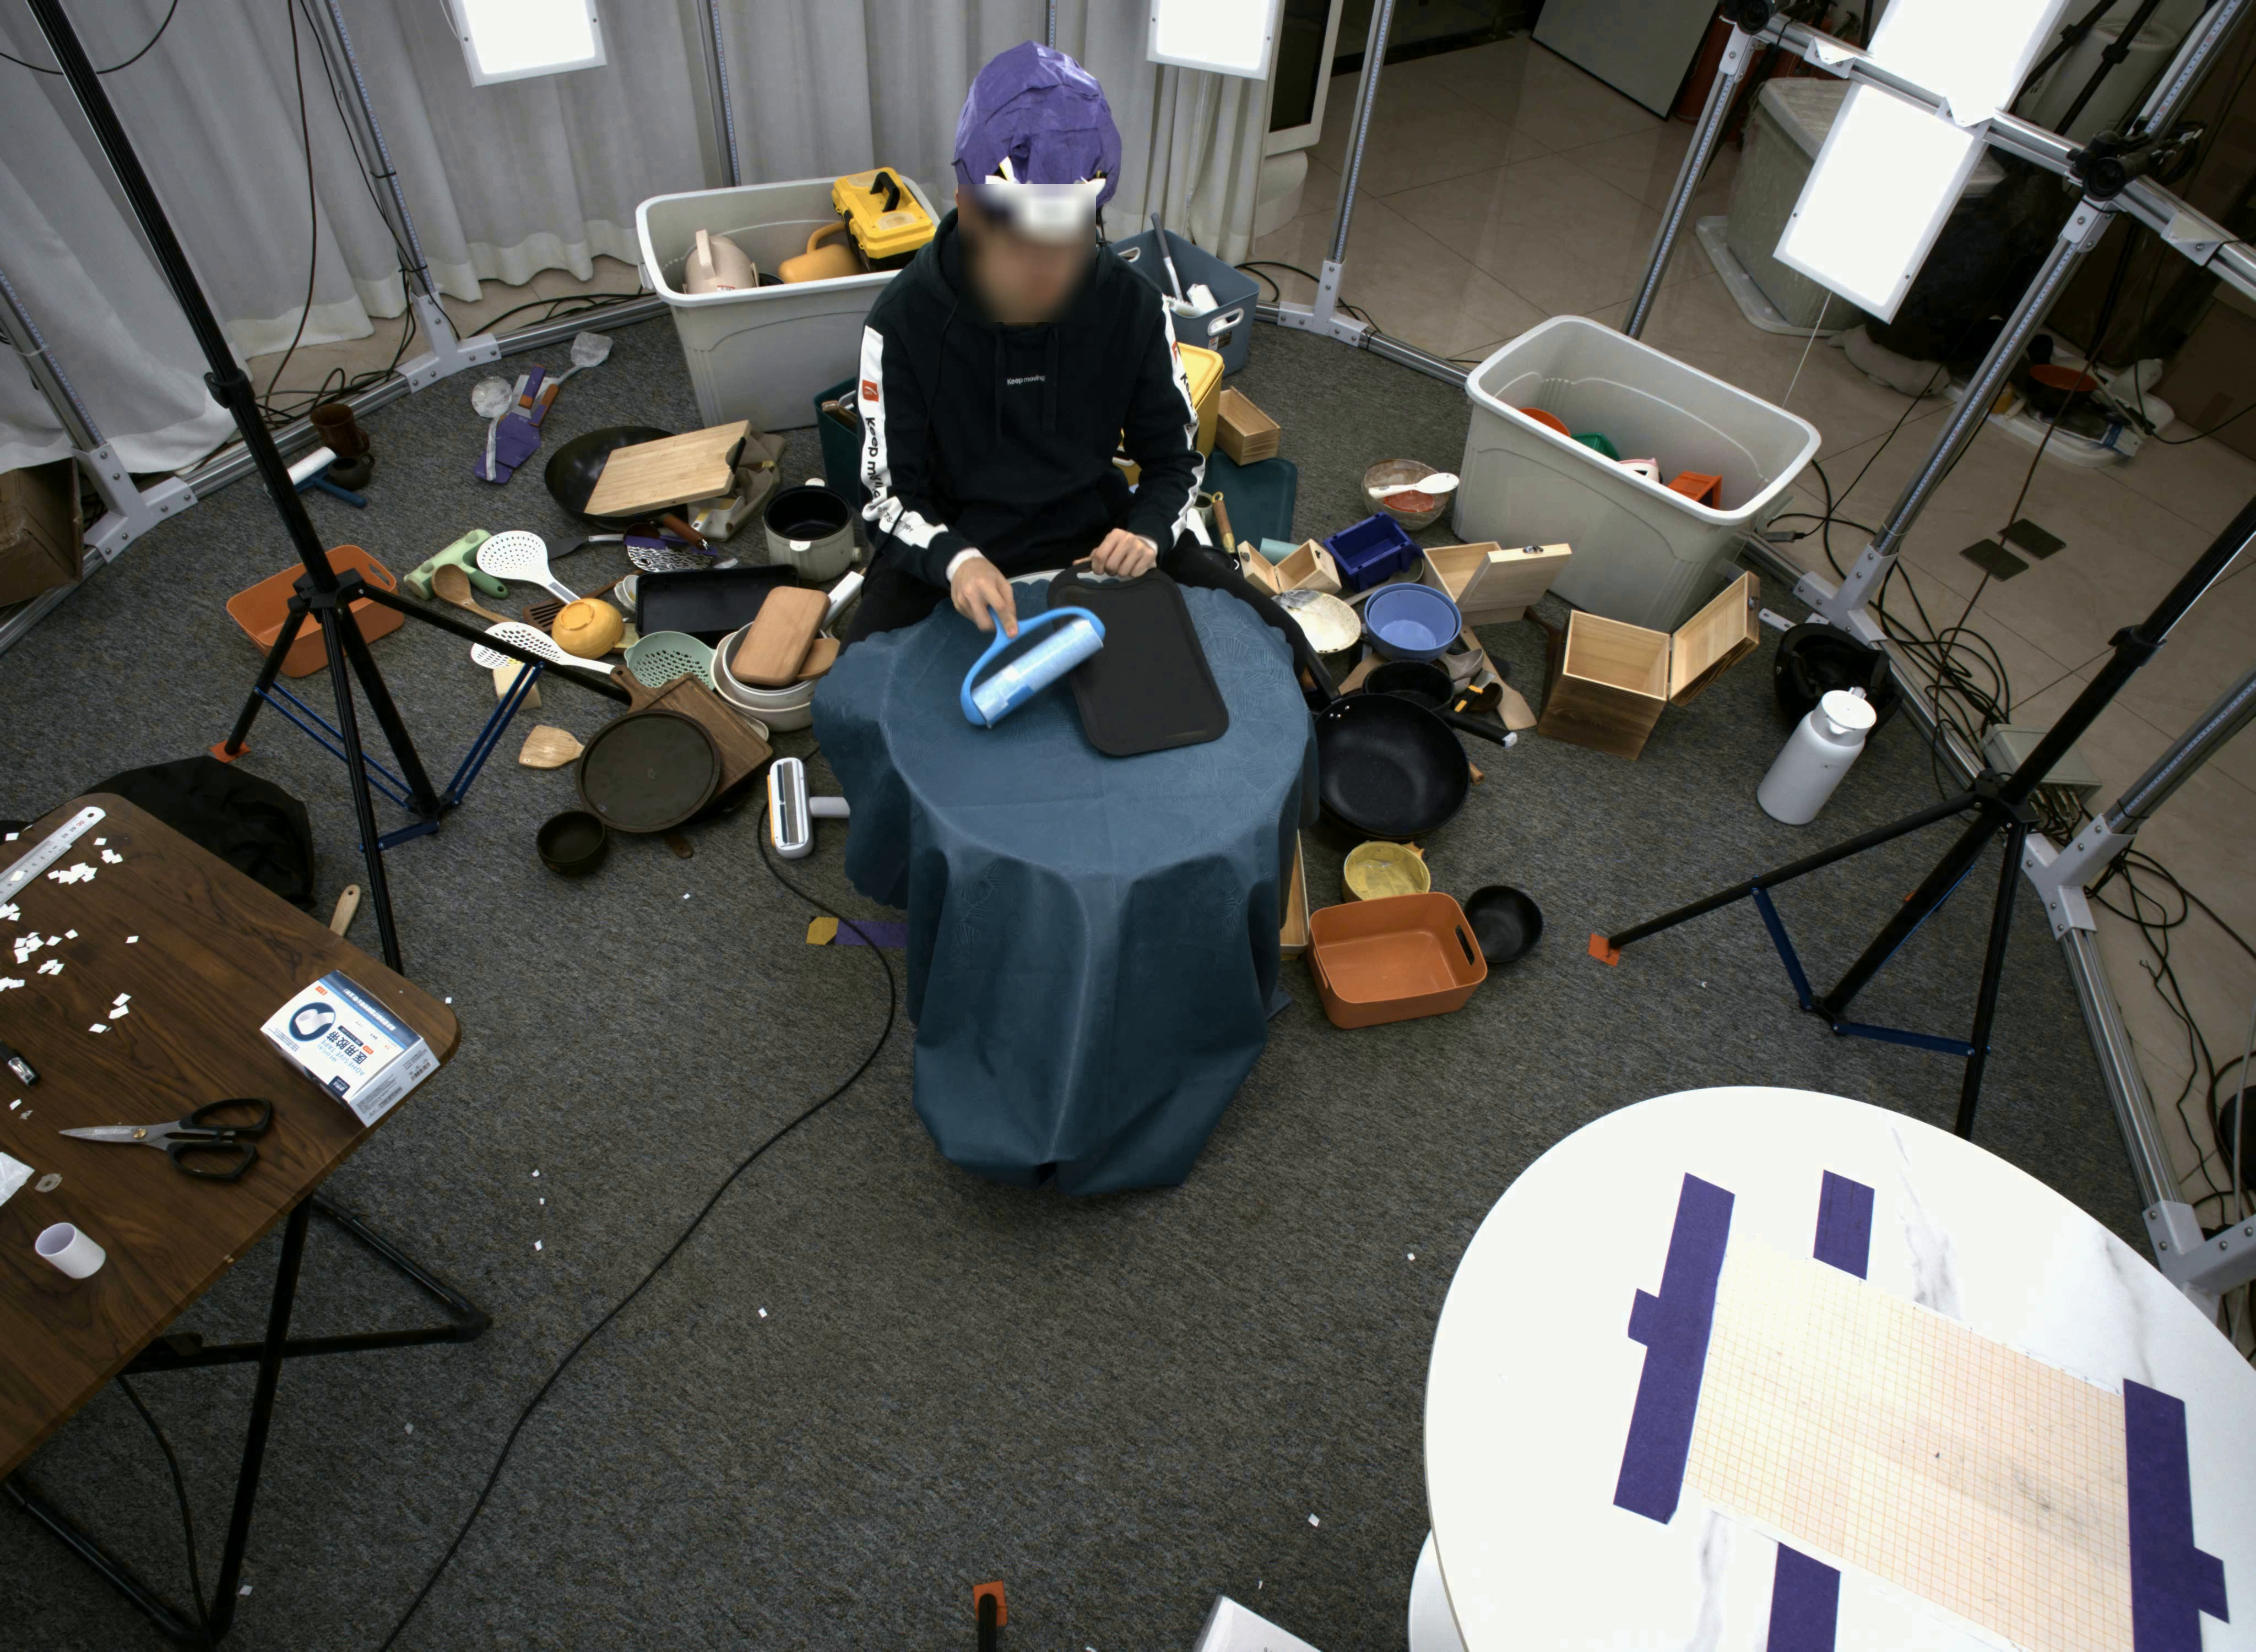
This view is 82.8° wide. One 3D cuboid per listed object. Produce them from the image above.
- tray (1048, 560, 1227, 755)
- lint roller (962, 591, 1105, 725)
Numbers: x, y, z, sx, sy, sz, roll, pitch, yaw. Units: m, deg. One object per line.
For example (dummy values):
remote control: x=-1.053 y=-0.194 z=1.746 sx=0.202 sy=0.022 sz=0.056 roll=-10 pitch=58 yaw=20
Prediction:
tray: x=0.009 y=-0.249 z=1.830 sx=0.211 sy=0.009 sz=0.332 roll=-8 pitch=64 yaw=-17
lint roller: x=-0.165 y=-0.263 z=1.785 sx=0.229 sy=0.067 sz=0.182 roll=-39 pitch=79 yaw=-6
